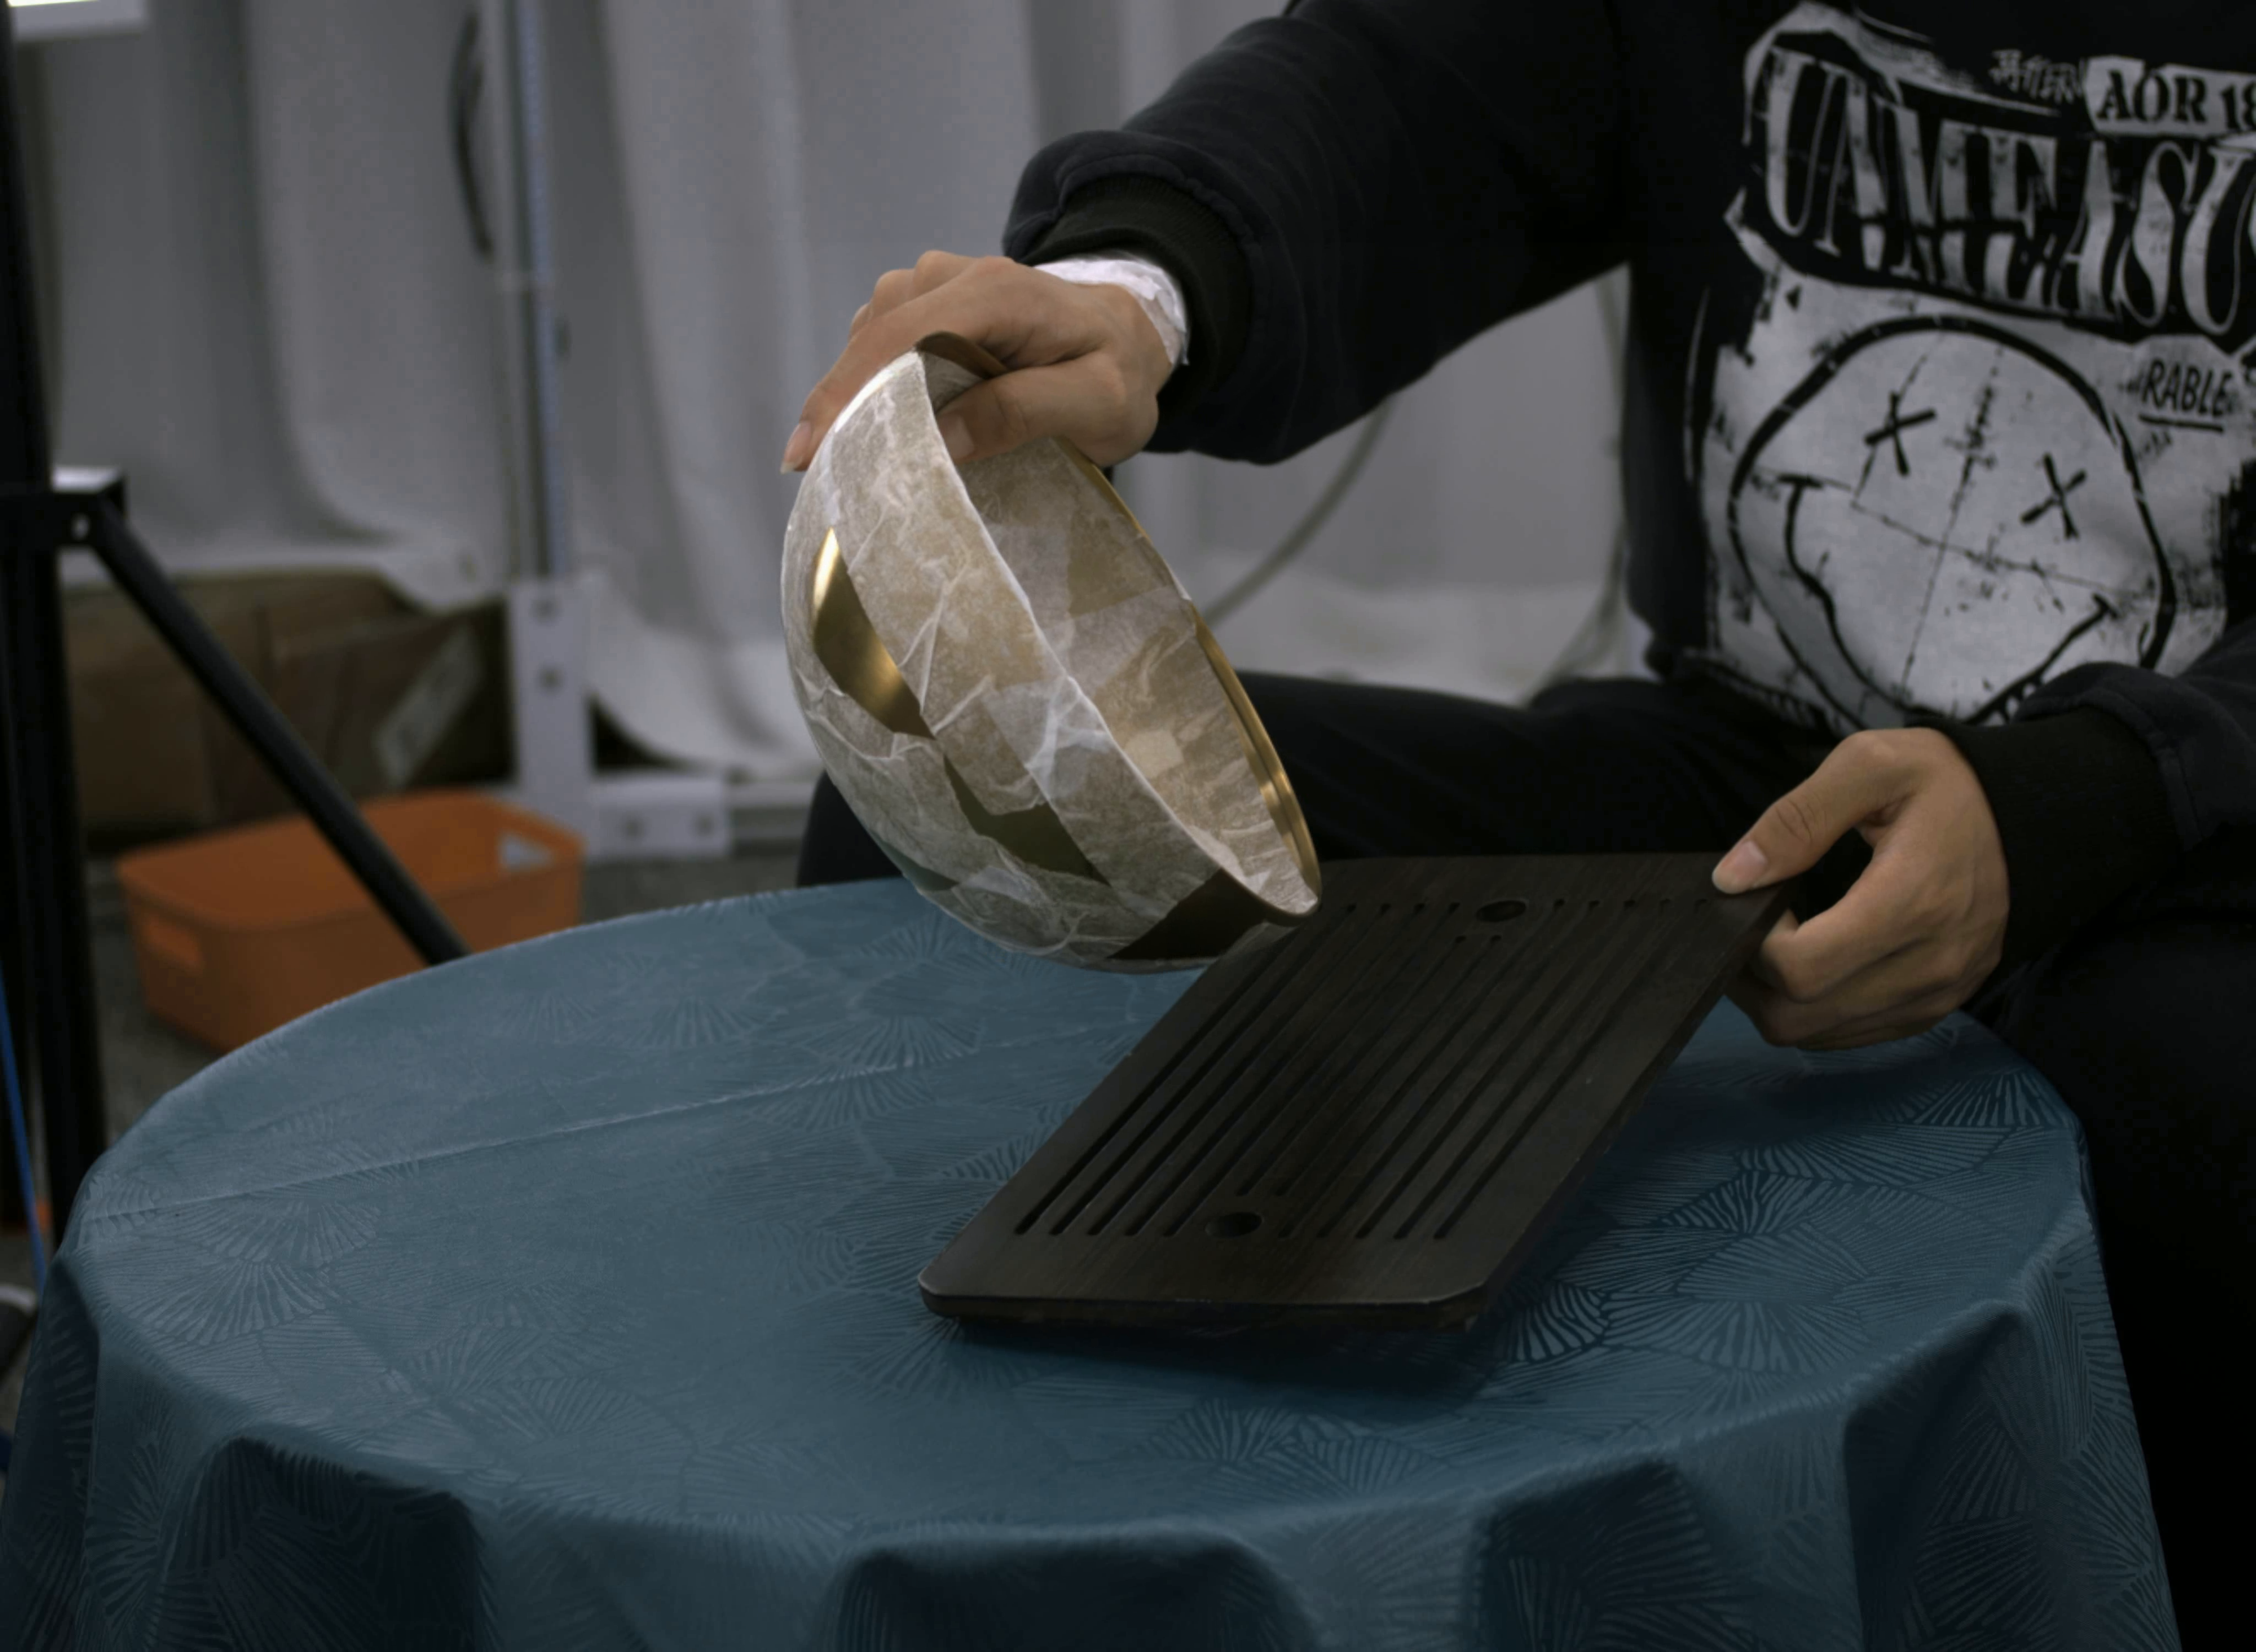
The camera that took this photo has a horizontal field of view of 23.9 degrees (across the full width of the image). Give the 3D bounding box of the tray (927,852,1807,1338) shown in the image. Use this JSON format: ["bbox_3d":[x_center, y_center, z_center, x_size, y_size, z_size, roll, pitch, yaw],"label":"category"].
[{"bbox_3d":[0.077,0.076,1.535,0.173,0.018,0.302,-2,22,27],"label":"tray"}]

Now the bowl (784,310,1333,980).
[{"bbox_3d":[-0.033,-0.033,1.520,0.095,0.213,0.214,-34,10,13],"label":"bowl"}]
